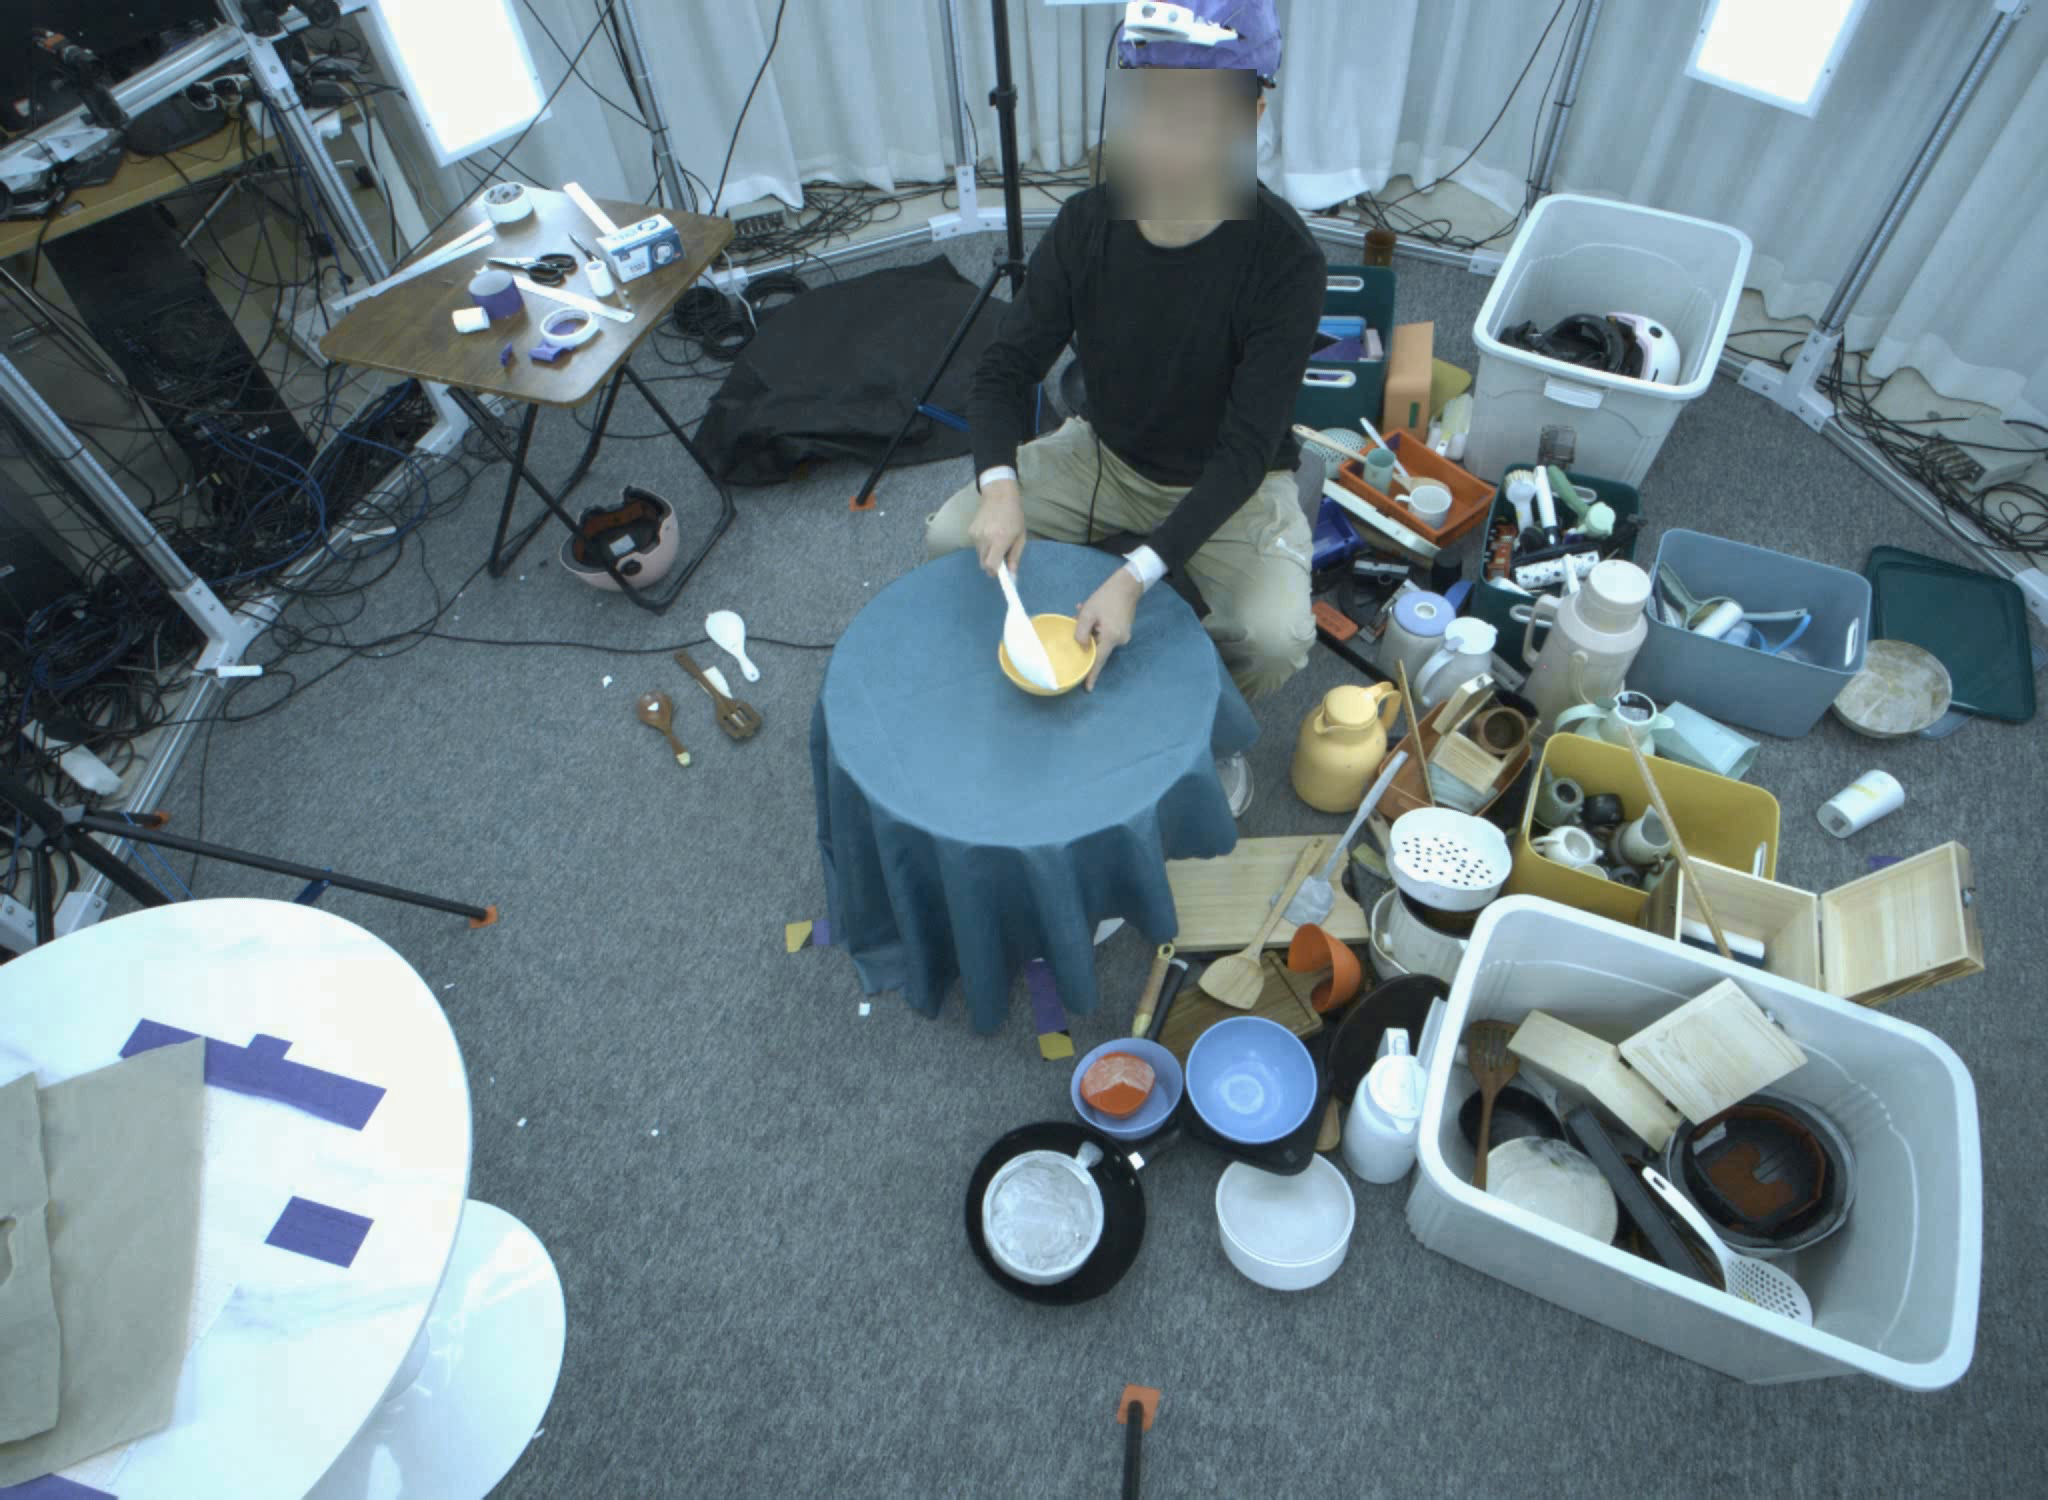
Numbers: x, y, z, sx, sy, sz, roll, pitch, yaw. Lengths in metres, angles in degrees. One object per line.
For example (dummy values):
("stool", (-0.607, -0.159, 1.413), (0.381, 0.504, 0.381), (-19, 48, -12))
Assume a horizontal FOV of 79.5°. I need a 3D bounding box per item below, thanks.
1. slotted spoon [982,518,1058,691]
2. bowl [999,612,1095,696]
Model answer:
("slotted spoon", (-0.015, -0.224, 1.810), (0.045, 0.139, 0.344), (-21, 54, 11))
("bowl", (0.035, -0.133, 1.845), (0.145, 0.061, 0.144), (0, 58, 1))
